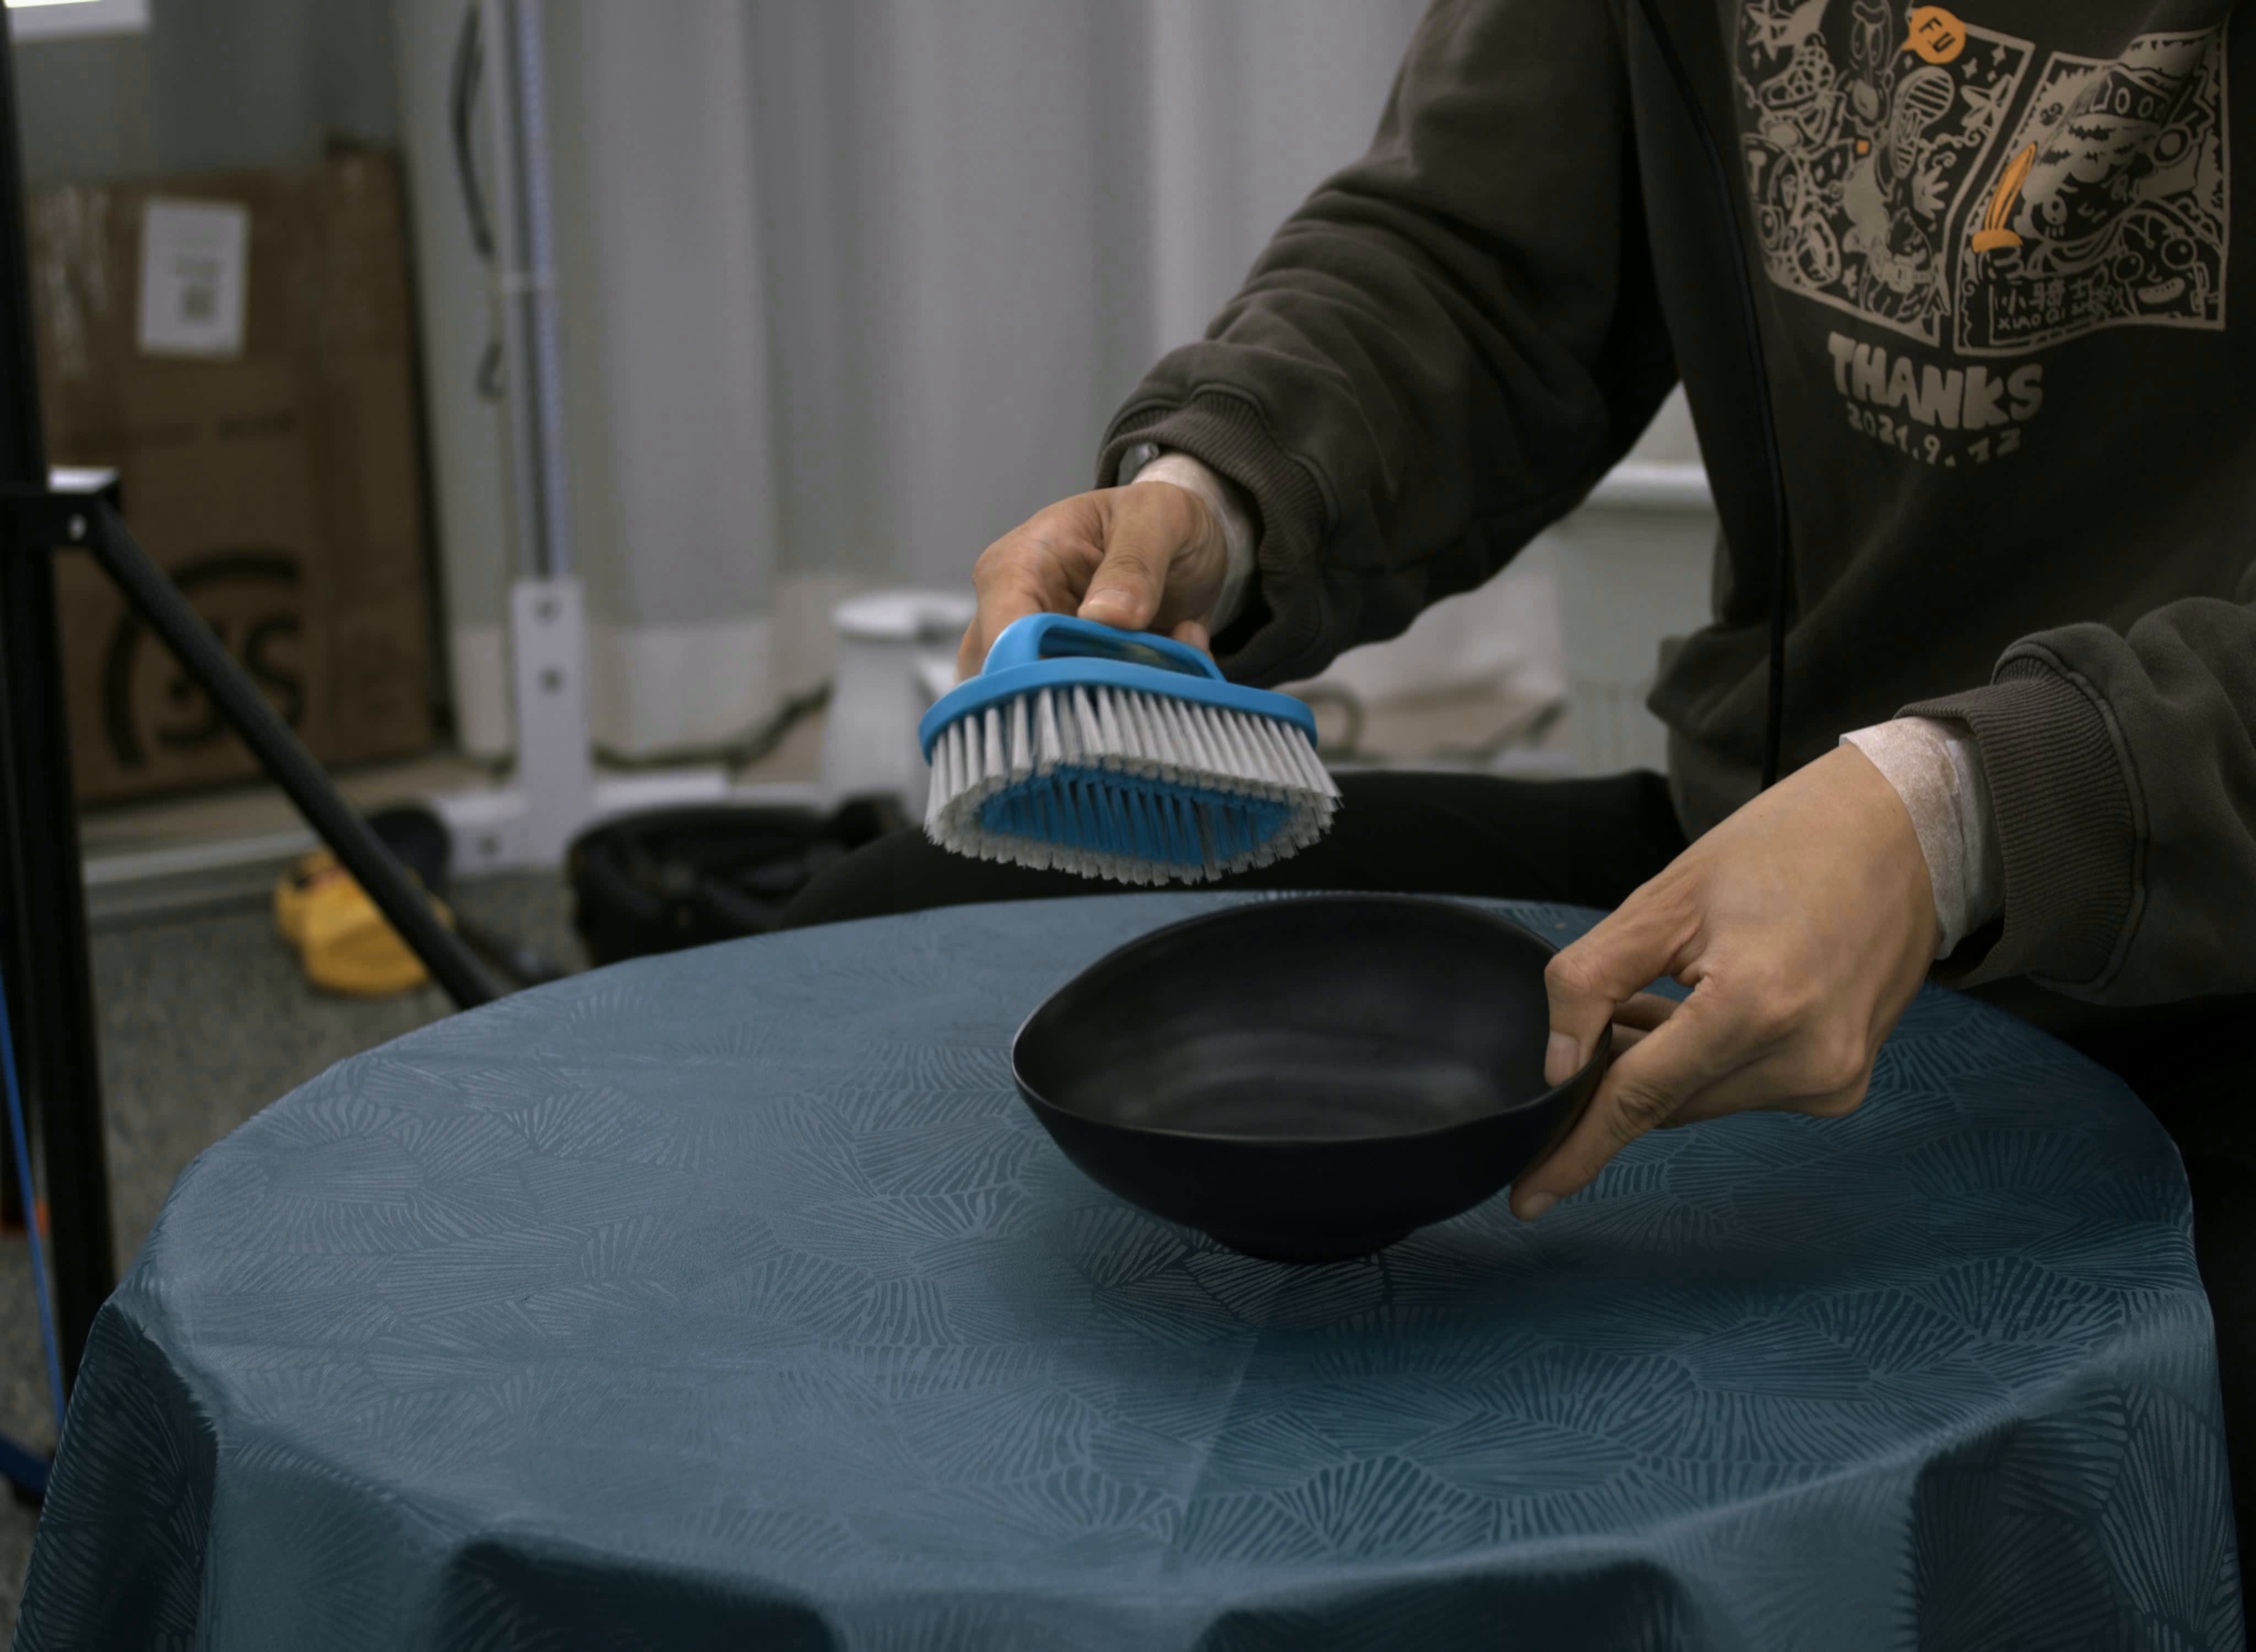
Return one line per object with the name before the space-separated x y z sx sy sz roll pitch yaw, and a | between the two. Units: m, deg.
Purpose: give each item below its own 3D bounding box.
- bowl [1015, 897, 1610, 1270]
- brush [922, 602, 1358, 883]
bowl | 0.052 0.081 1.487 0.171 0.066 0.137 -1 28 14
brush | -0.002 -0.031 1.574 0.138 0.064 0.085 9 -33 -39
